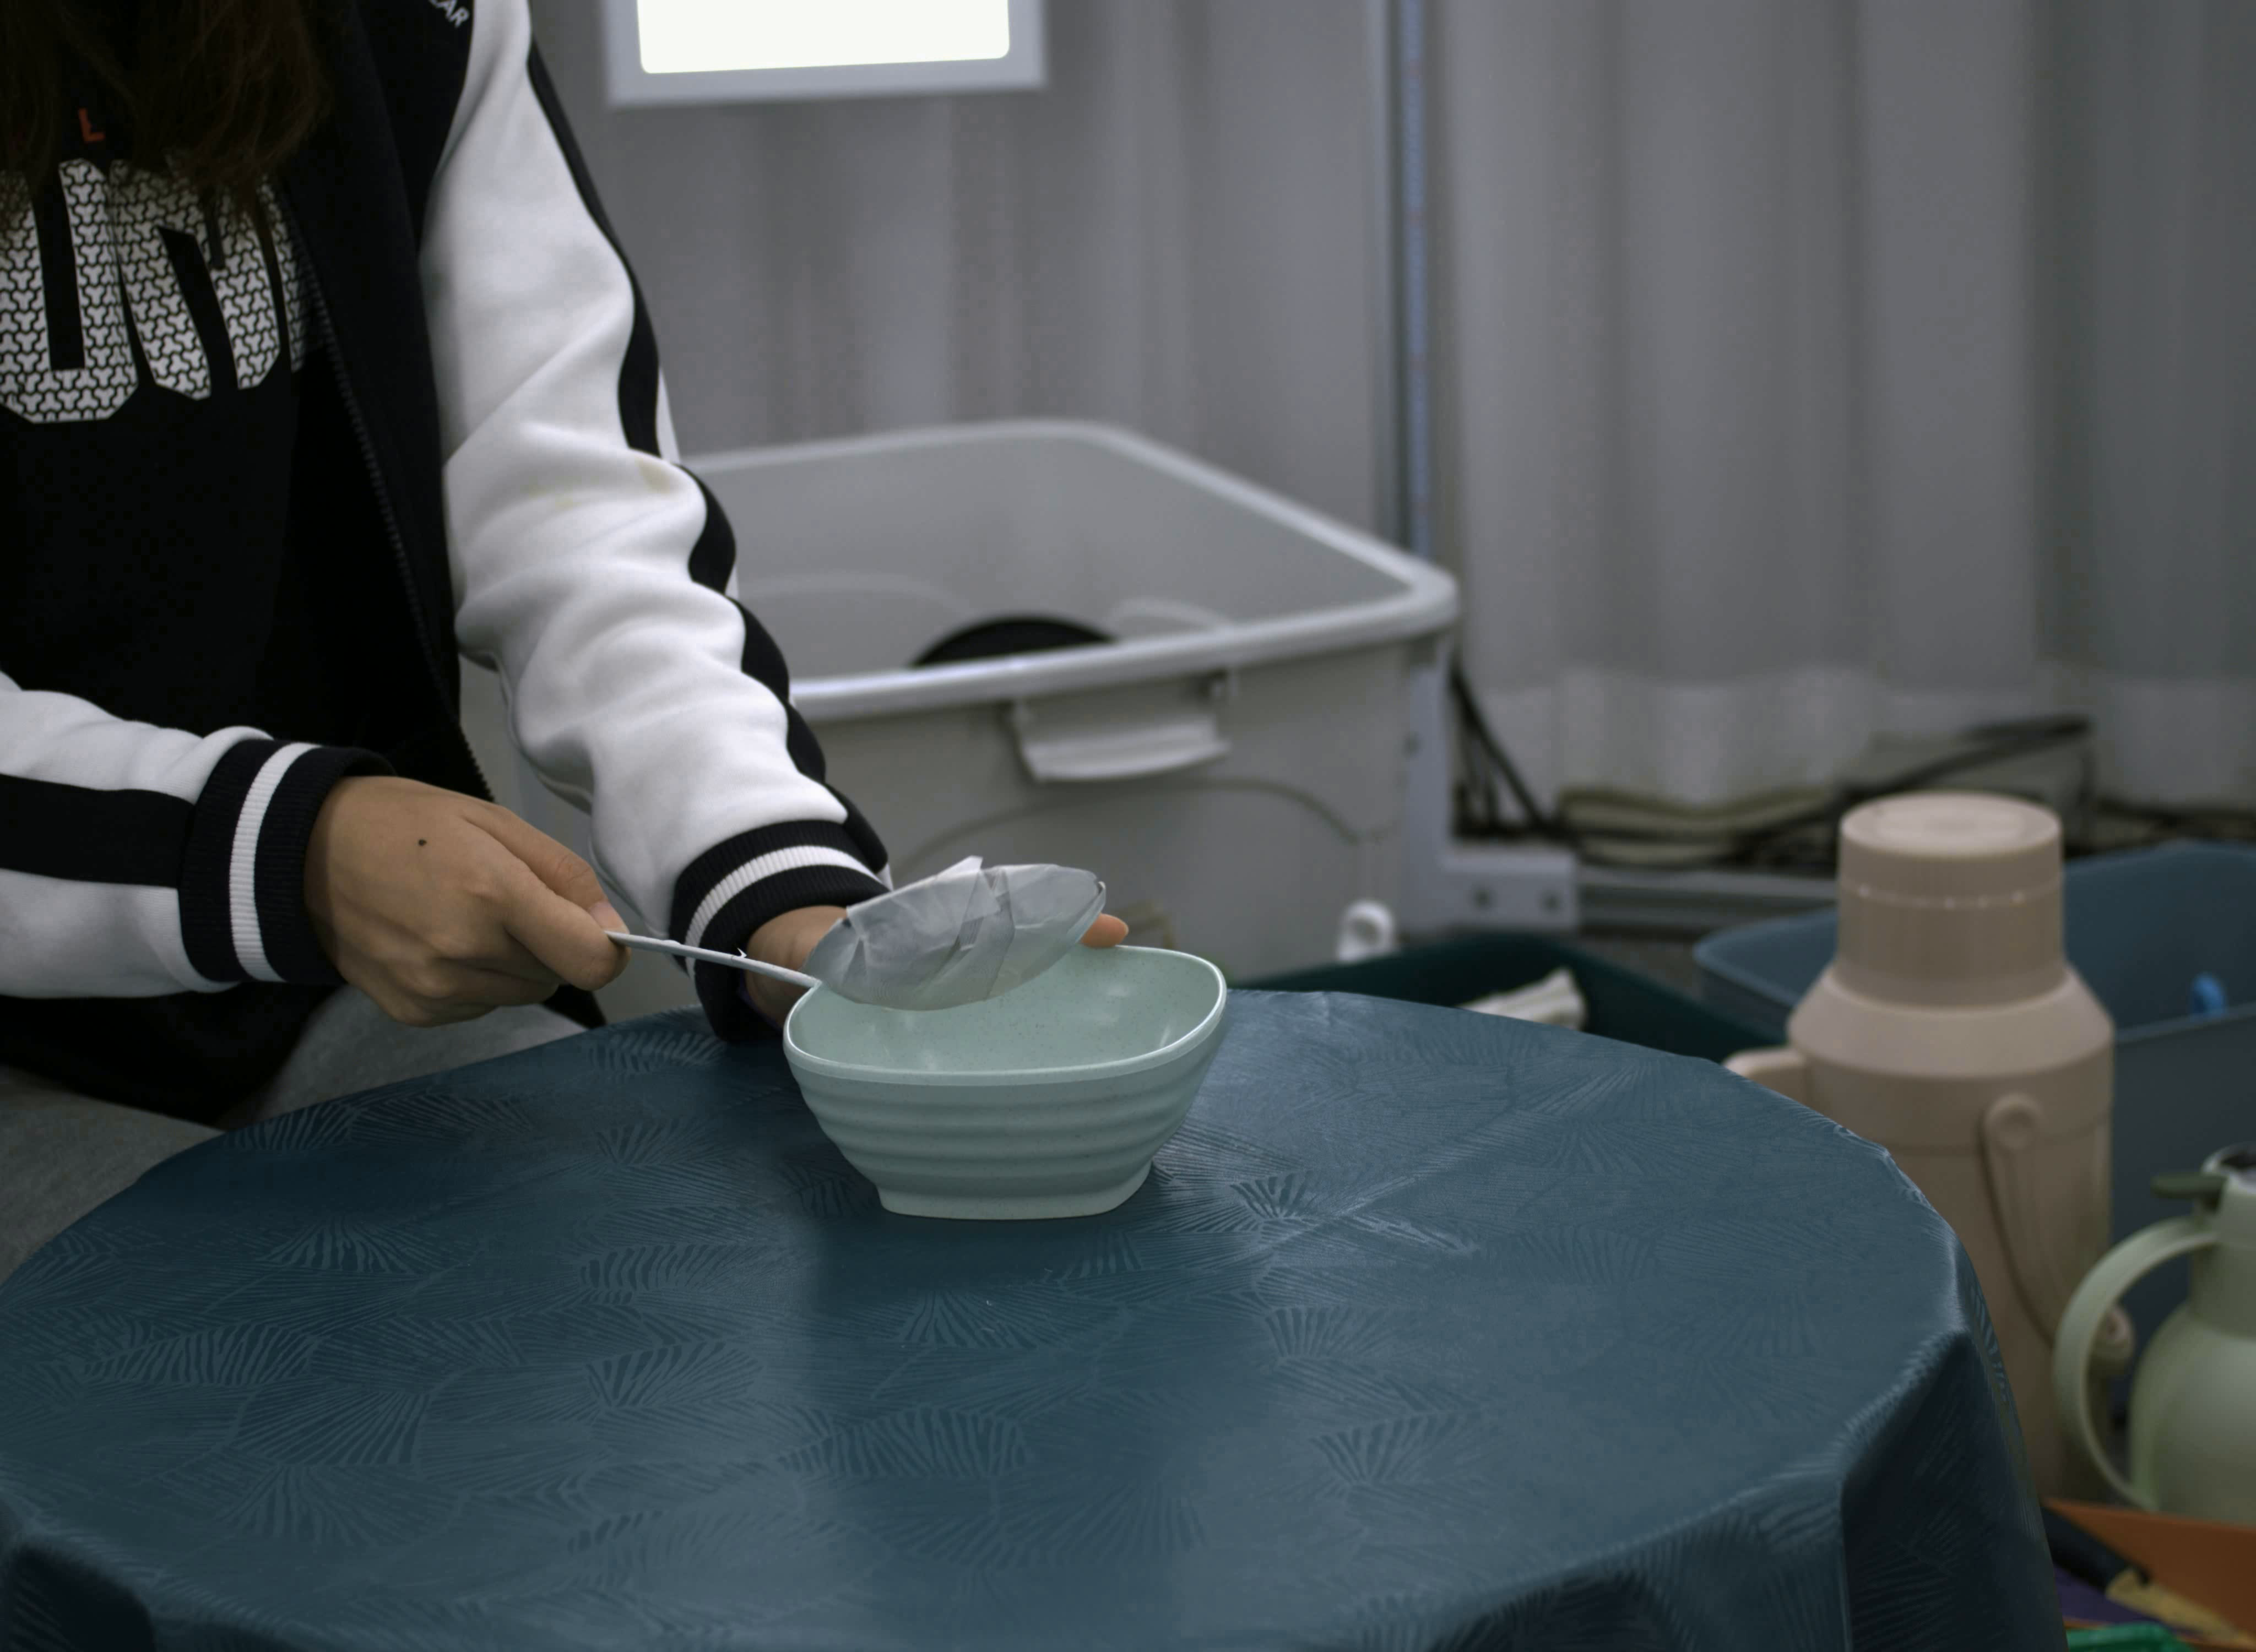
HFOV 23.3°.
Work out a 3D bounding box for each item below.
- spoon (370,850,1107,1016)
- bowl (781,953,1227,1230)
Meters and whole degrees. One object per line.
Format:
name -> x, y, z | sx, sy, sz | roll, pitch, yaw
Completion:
spoon -> -0.130, 0.018, 1.748 | 0.279, 0.060, 0.099 | 11, -13, 36
bowl -> -0.037, 0.087, 1.727 | 0.151, 0.058, 0.152 | -3, 14, 0
